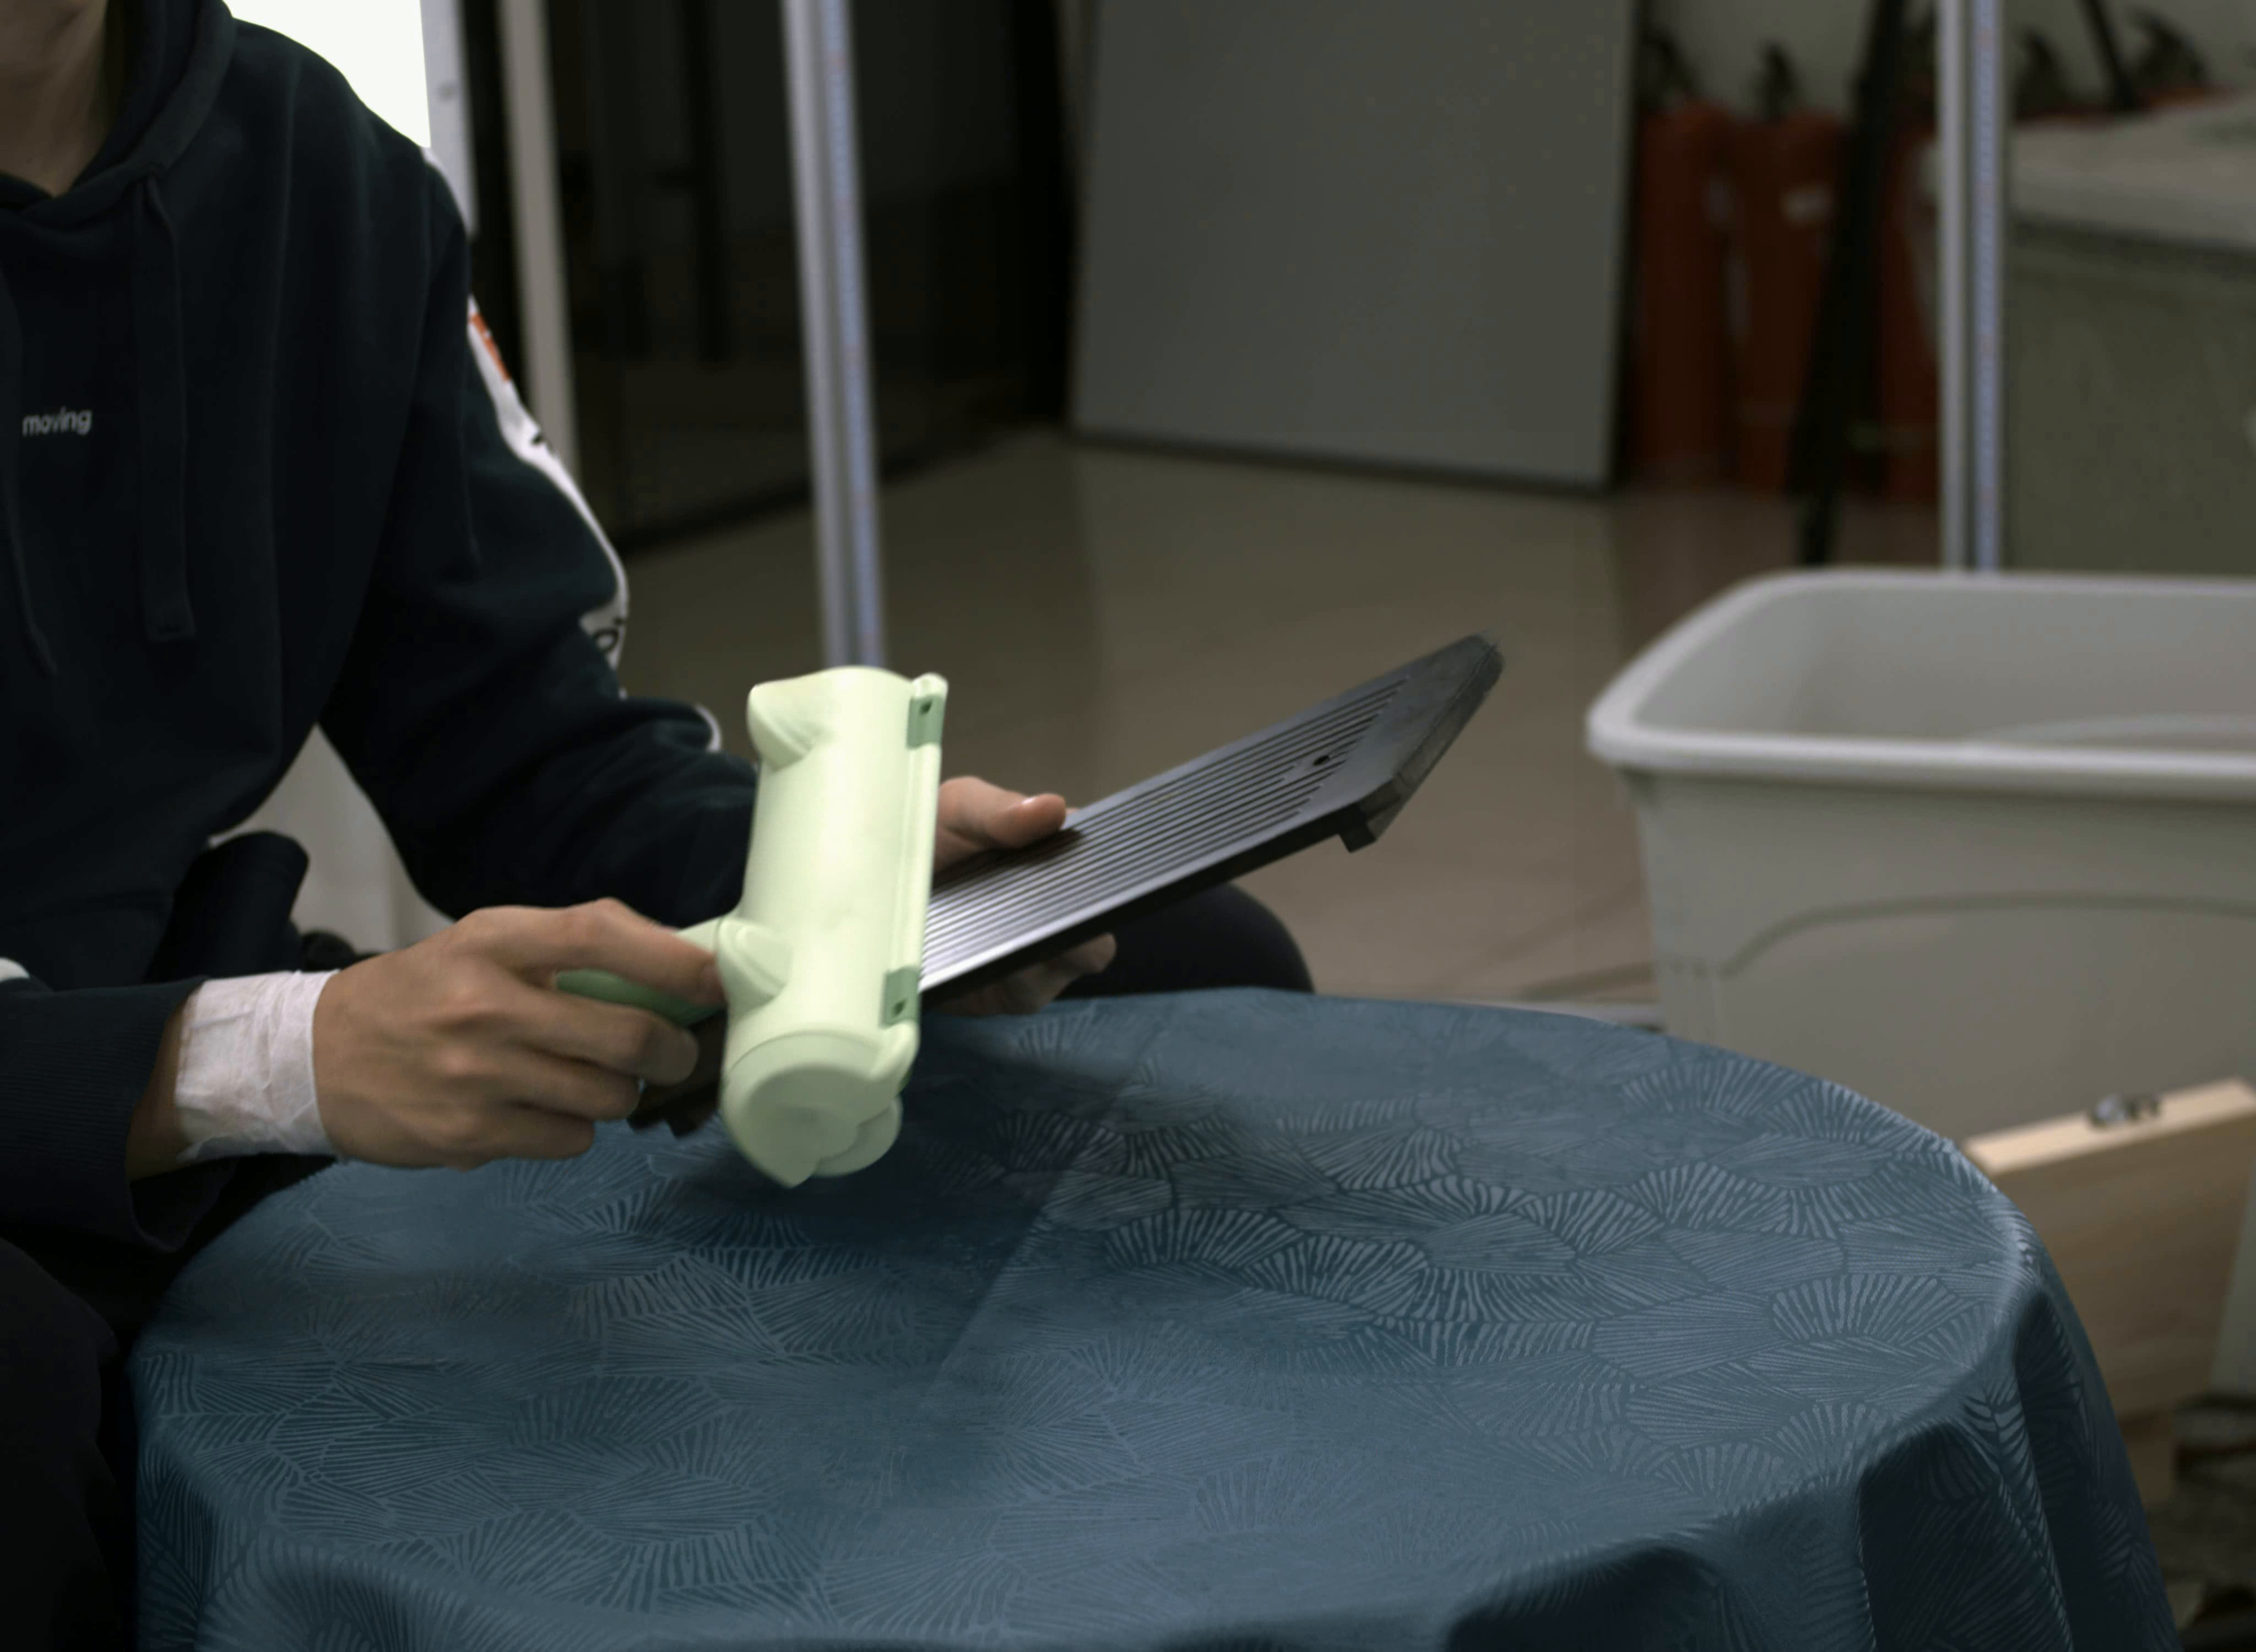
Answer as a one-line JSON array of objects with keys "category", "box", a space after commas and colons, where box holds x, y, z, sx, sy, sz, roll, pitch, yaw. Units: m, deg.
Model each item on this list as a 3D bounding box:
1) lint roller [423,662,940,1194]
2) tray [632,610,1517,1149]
[{"category": "lint roller", "box": [-0.145, 0.036, 1.647, 0.183, 0.082, 0.199, -16, 36, 15]}, {"category": "tray", "box": [-0.015, 0.020, 1.783, 0.307, 0.018, 0.169, -26, 11, 27]}]
